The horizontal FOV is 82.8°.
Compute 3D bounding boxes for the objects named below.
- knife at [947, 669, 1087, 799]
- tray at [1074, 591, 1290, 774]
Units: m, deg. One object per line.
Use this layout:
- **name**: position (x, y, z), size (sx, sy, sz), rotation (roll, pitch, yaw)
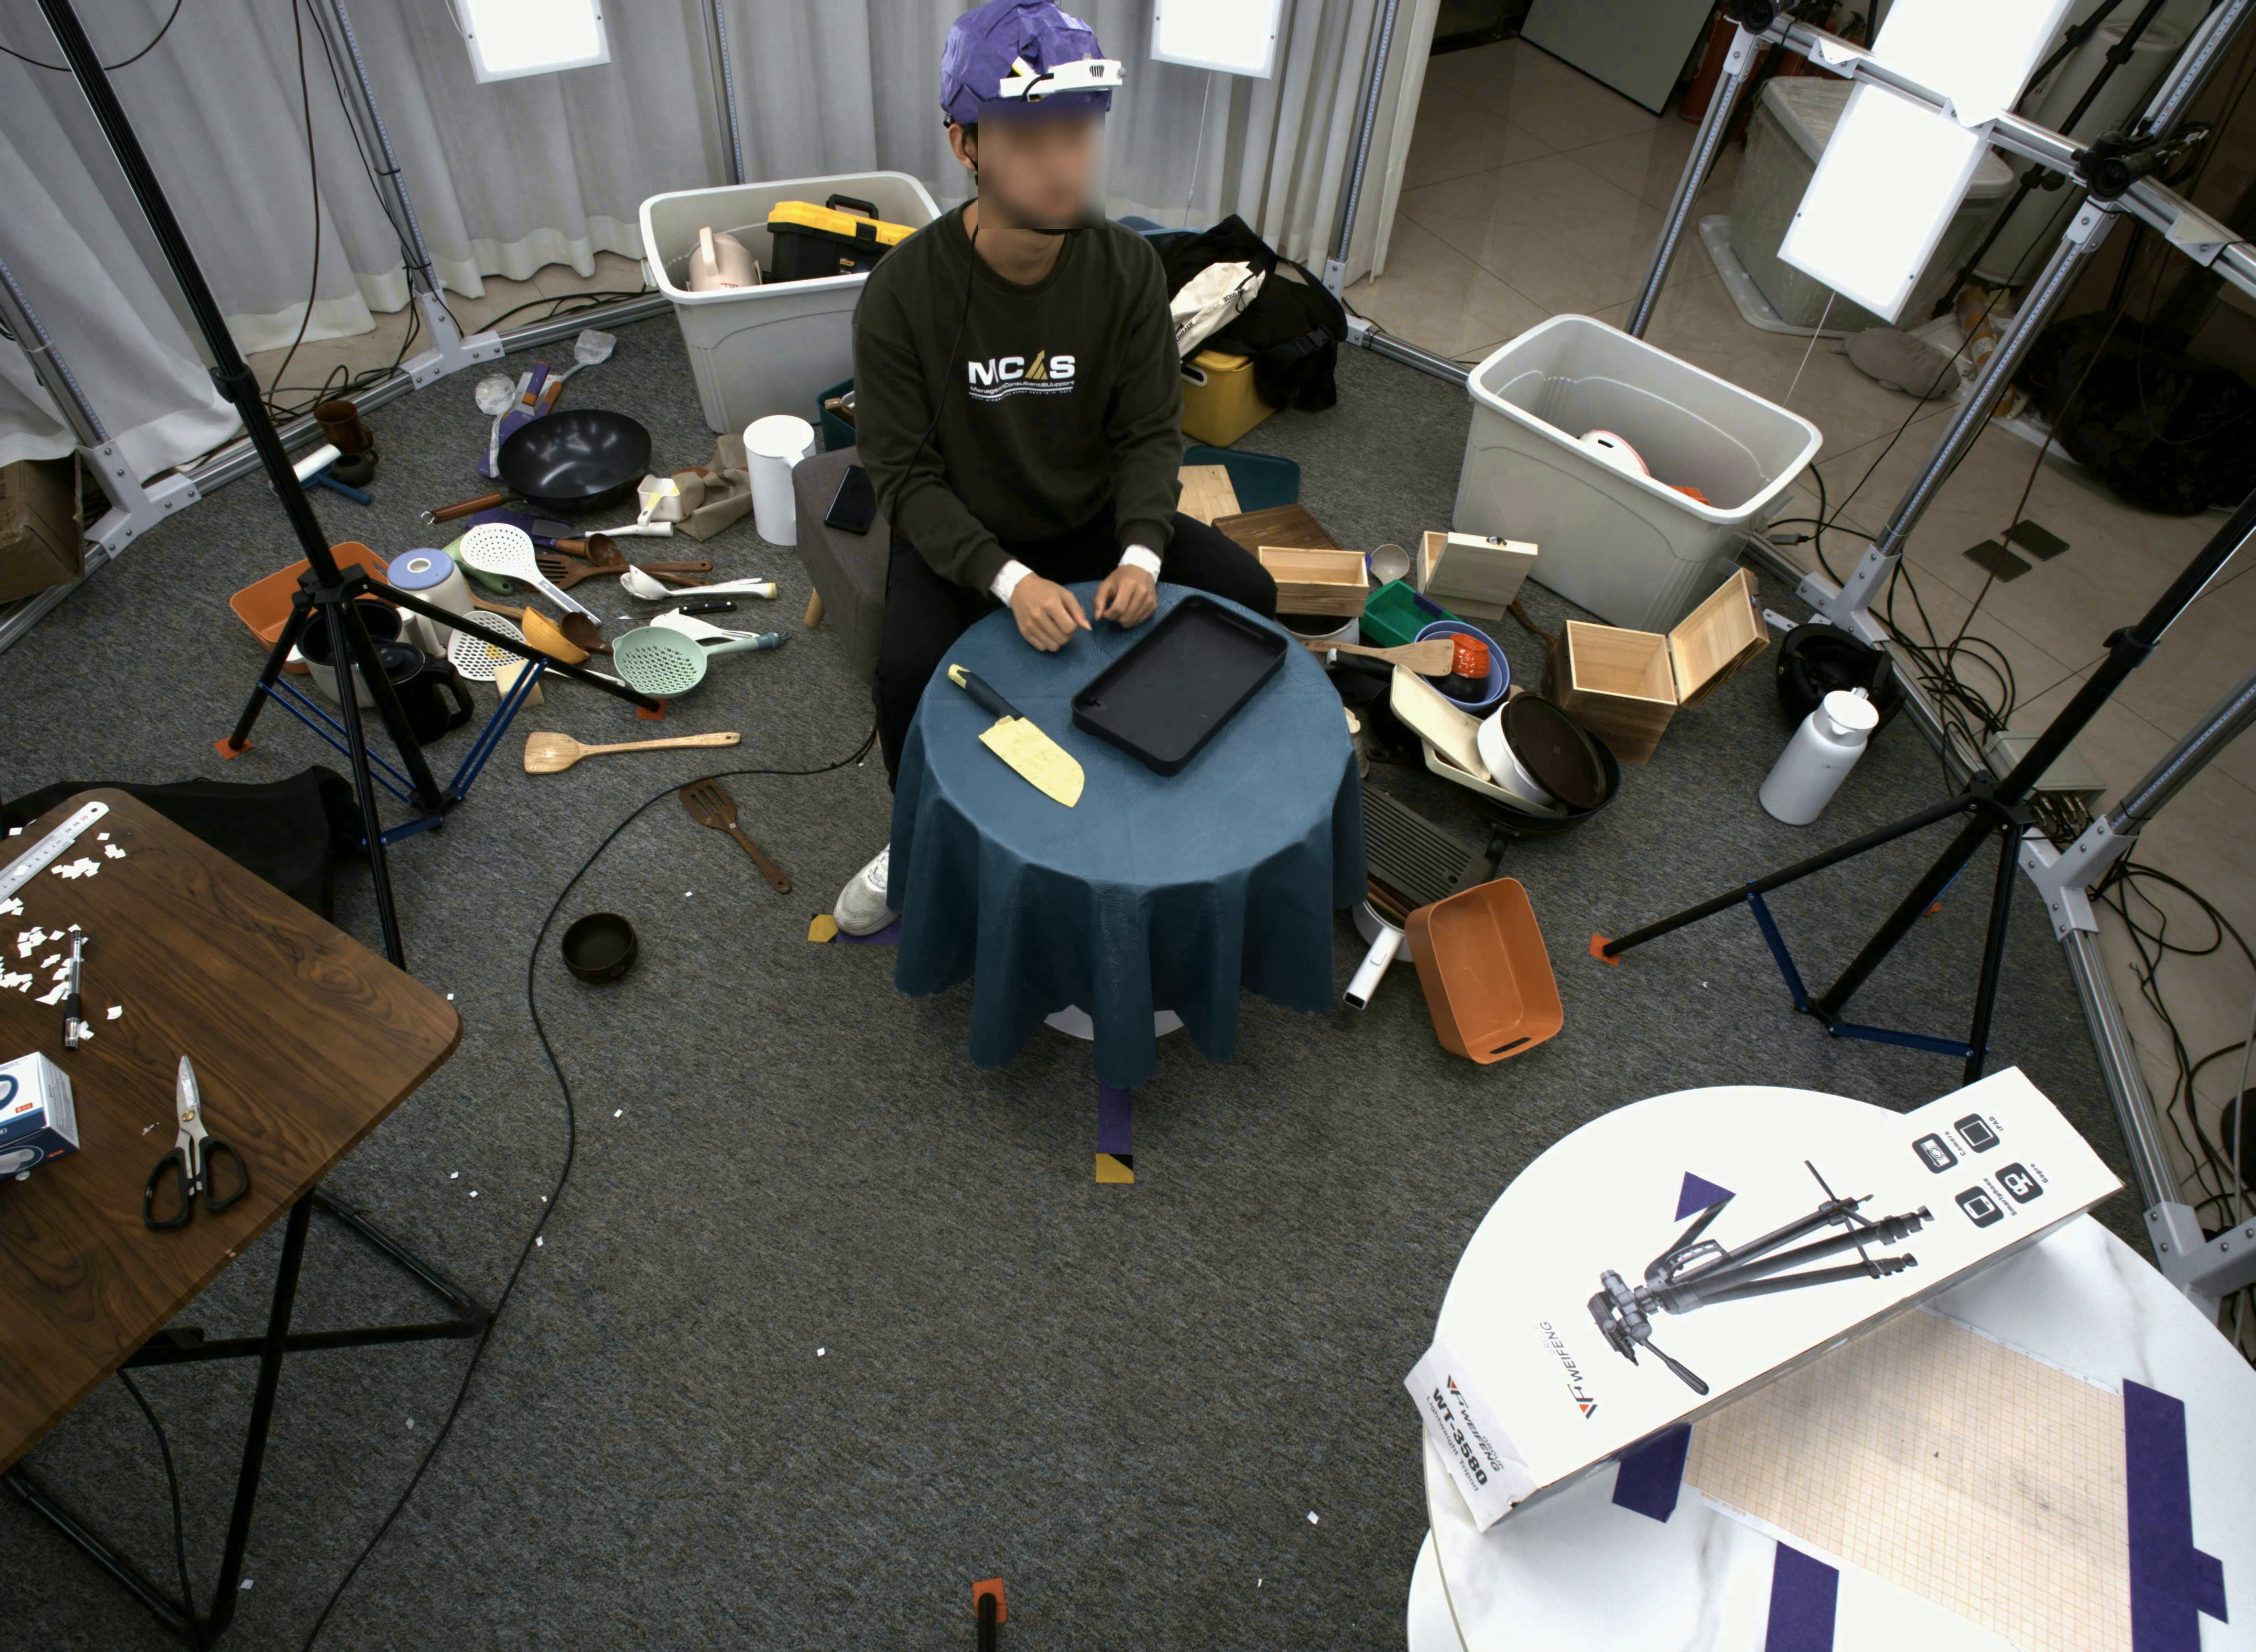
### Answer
- **knife**: position (-0.160, -0.125, 1.755), size (0.081, 0.026, 0.294), rotation (-32, 59, -29)
- **tray**: position (0.081, -0.211, 1.833), size (0.186, 0.036, 0.322), rotation (28, 53, 20)
